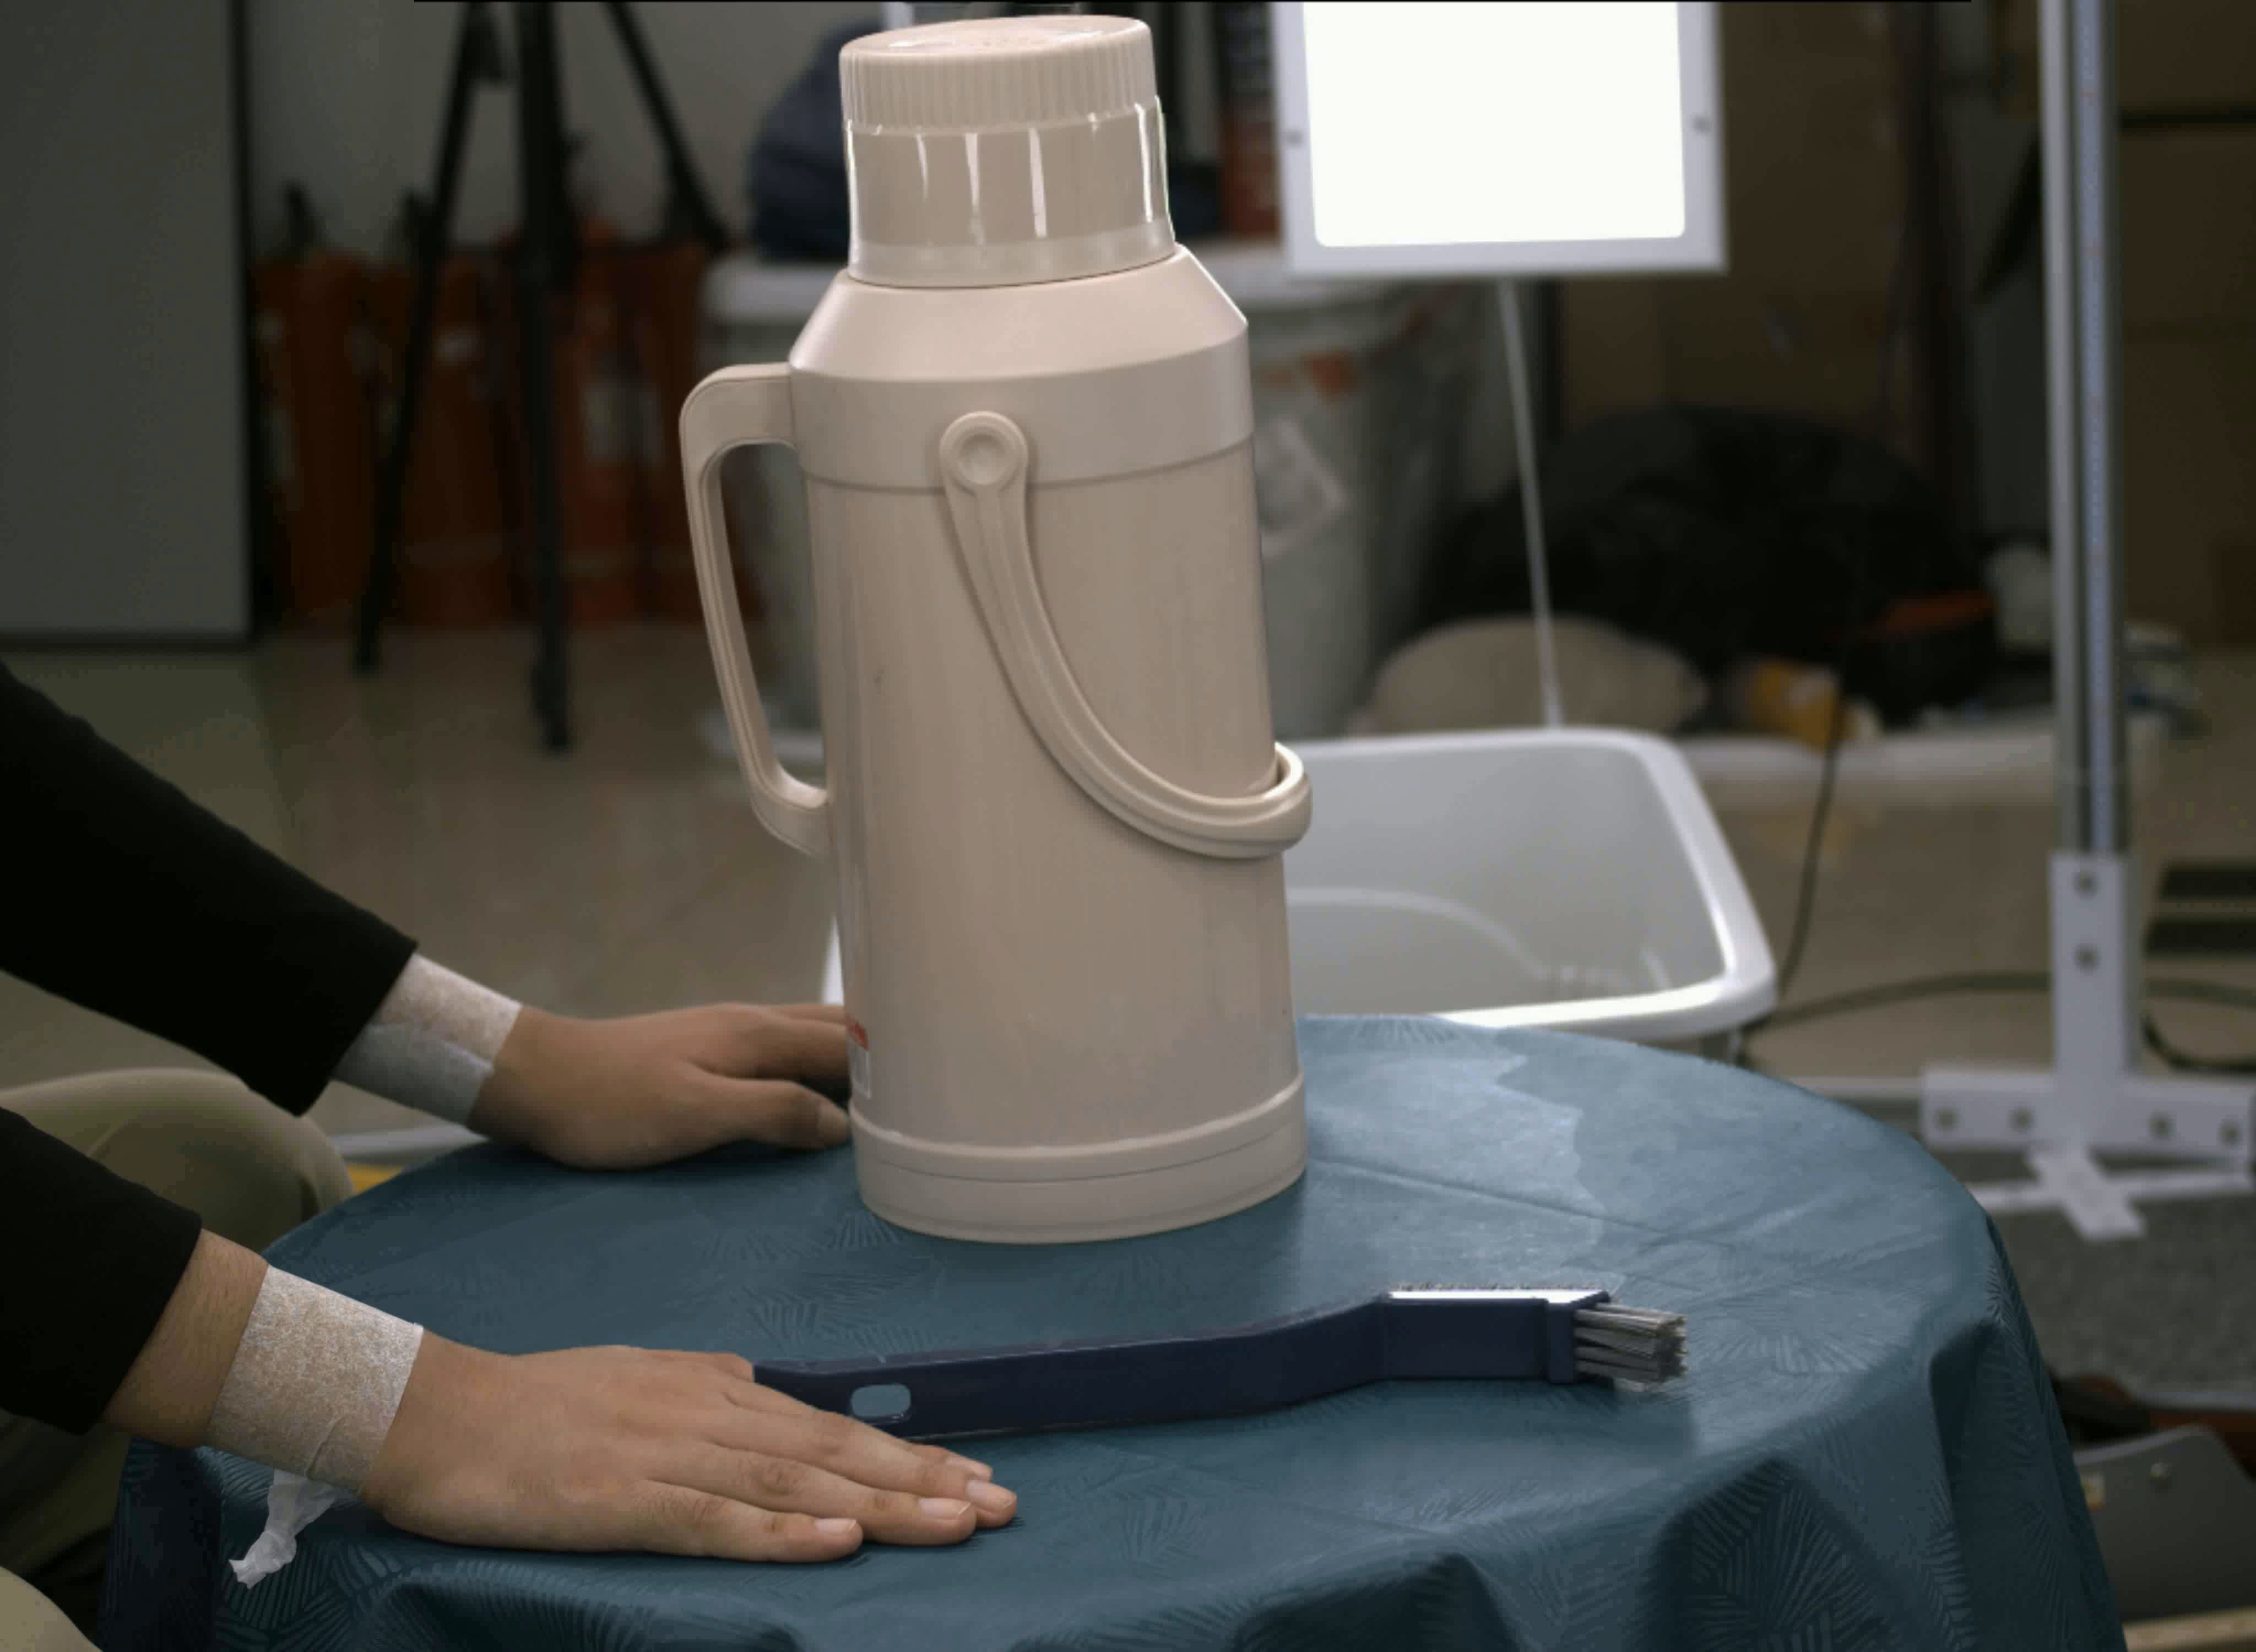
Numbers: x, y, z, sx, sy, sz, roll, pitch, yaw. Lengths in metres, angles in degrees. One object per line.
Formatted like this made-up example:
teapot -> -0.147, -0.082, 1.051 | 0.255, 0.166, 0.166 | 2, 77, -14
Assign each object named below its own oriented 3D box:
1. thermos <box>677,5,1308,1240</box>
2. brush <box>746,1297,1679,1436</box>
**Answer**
thermos -> -0.045, -0.070, 1.882 | 0.208, 0.408, 0.174 | -2, 16, 9
brush -> 0.024, 0.164, 1.664 | 0.270, 0.033, 0.096 | -5, 12, -9
